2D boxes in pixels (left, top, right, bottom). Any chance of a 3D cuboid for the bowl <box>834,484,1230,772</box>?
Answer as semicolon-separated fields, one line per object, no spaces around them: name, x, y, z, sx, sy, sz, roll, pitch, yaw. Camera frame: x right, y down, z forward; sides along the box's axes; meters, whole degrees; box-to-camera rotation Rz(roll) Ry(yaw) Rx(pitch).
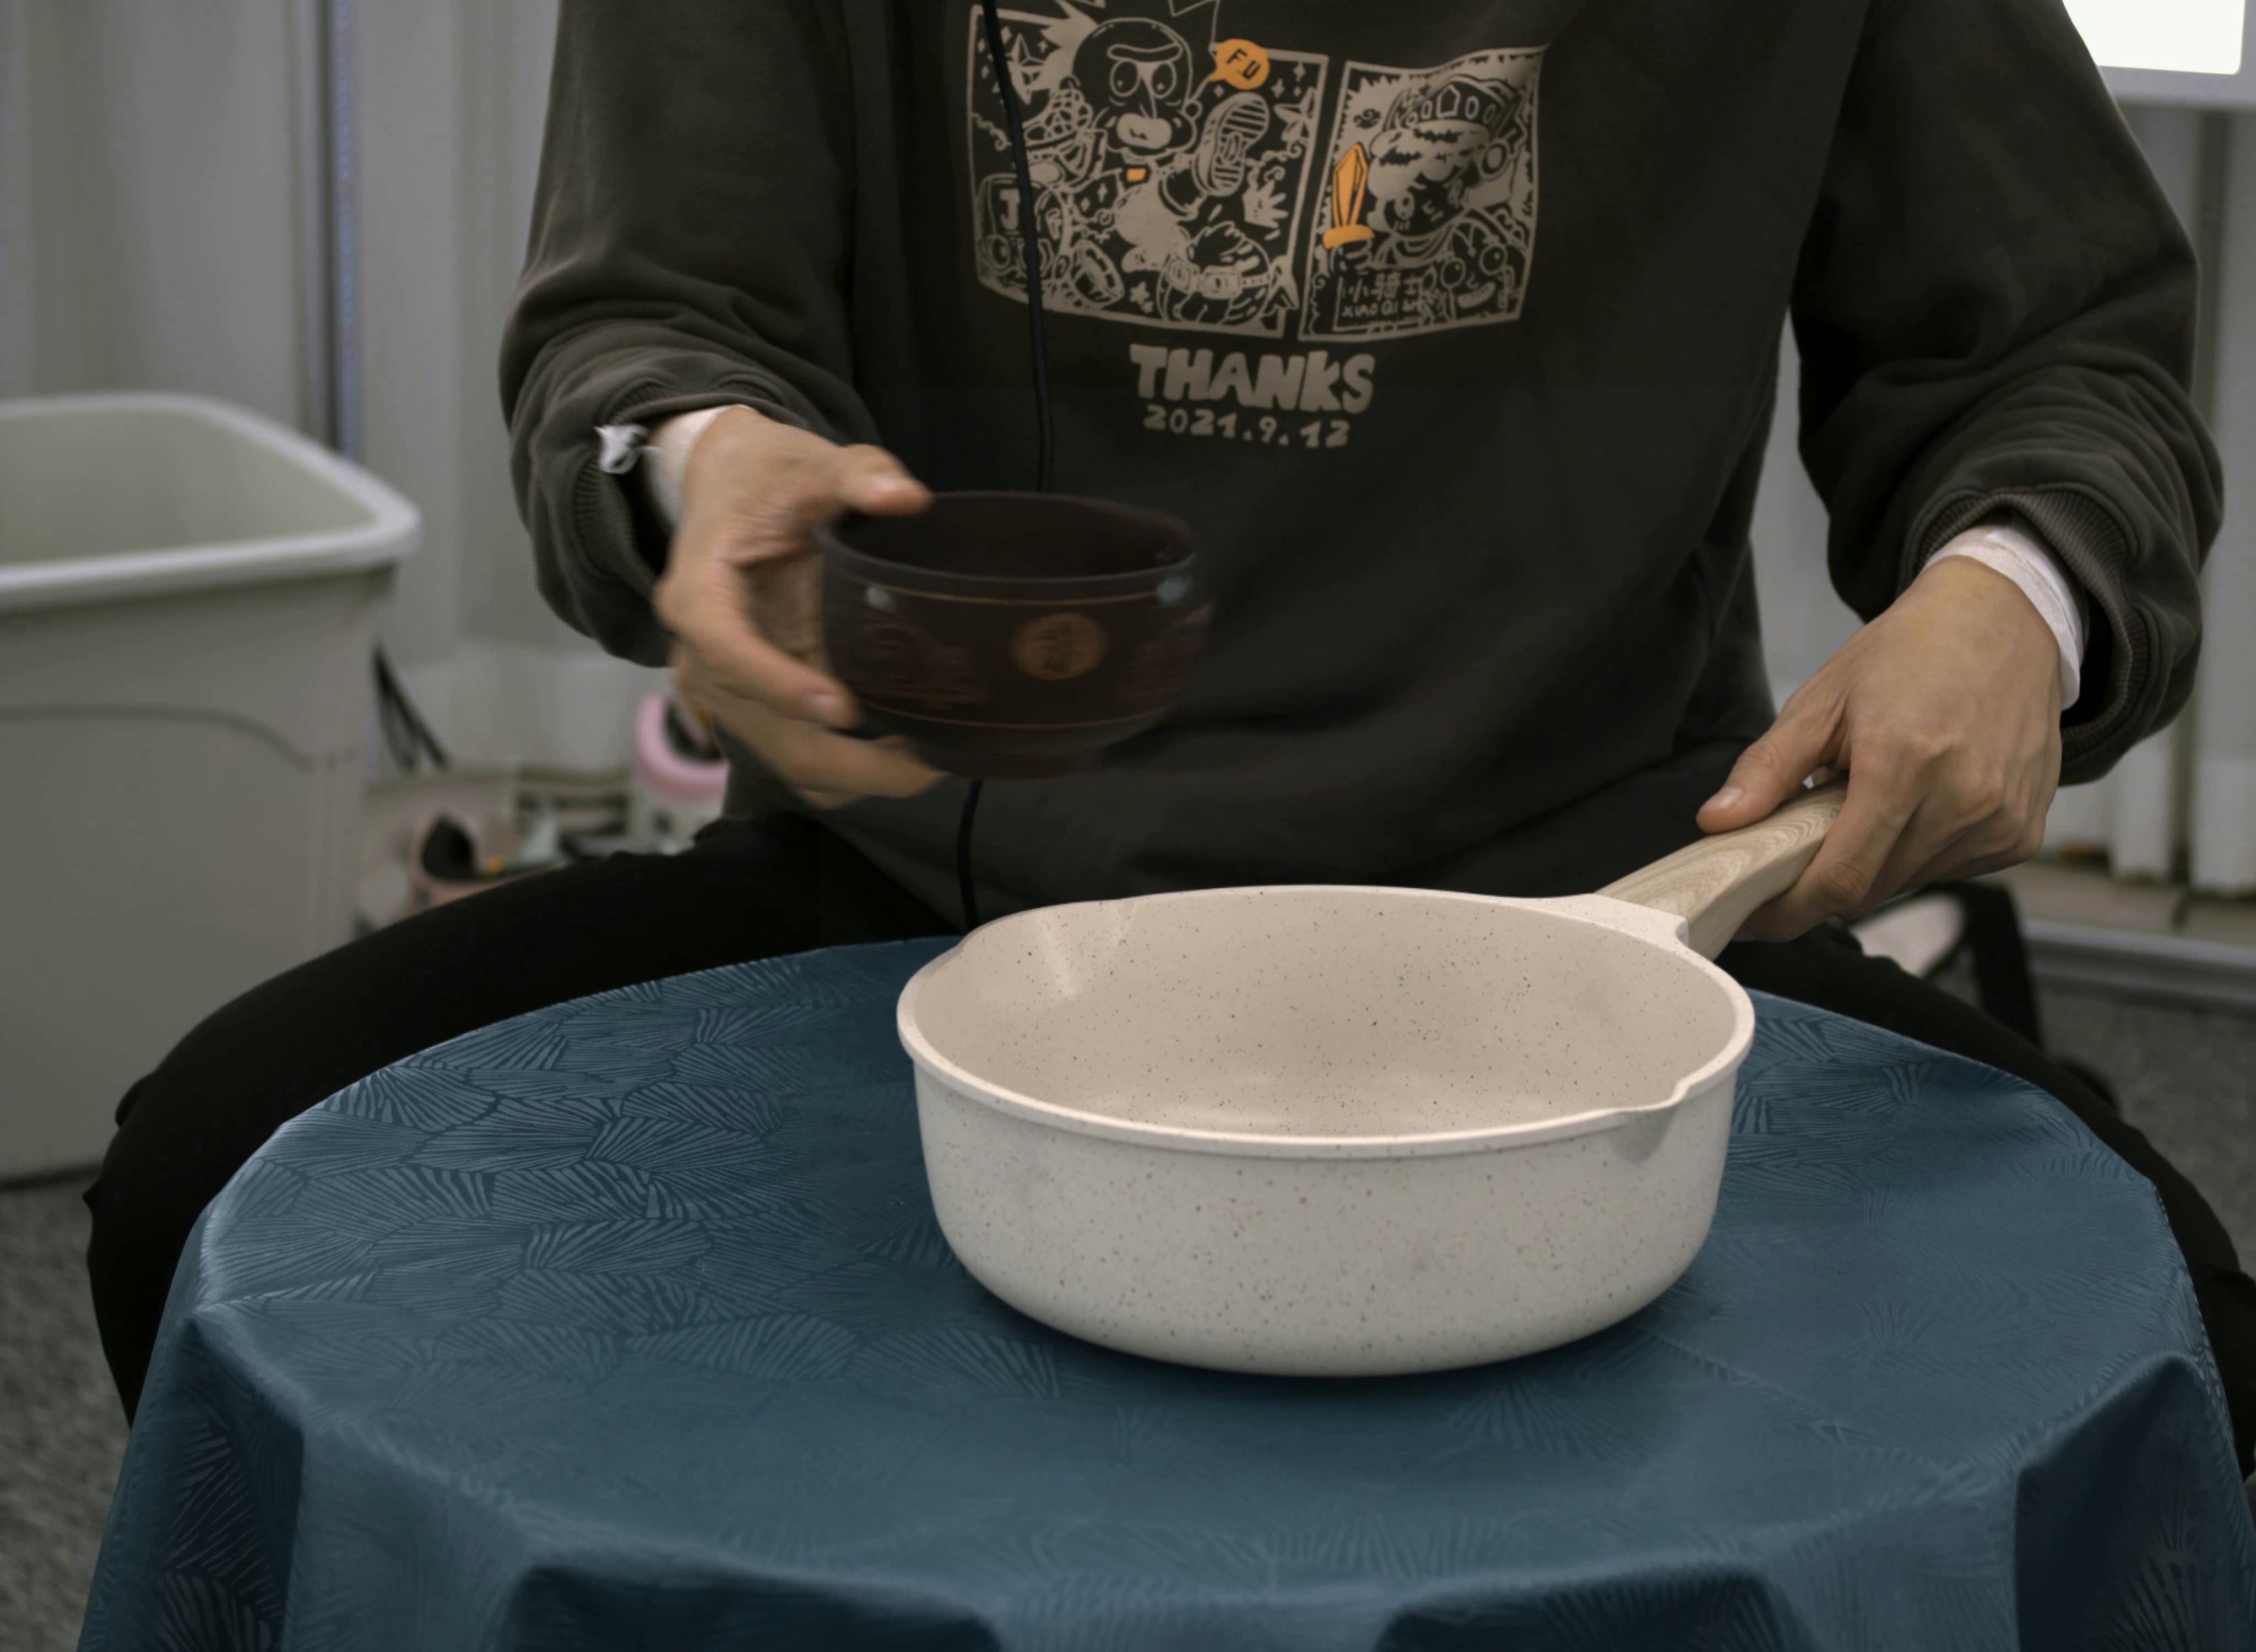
bowl;-0.029;-0.056;1.558;0.117;0.070;0.117;1;15;0

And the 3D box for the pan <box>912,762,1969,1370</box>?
pan;0.126;0.067;1.614;0.260;0.103;0.437;13;19;42
